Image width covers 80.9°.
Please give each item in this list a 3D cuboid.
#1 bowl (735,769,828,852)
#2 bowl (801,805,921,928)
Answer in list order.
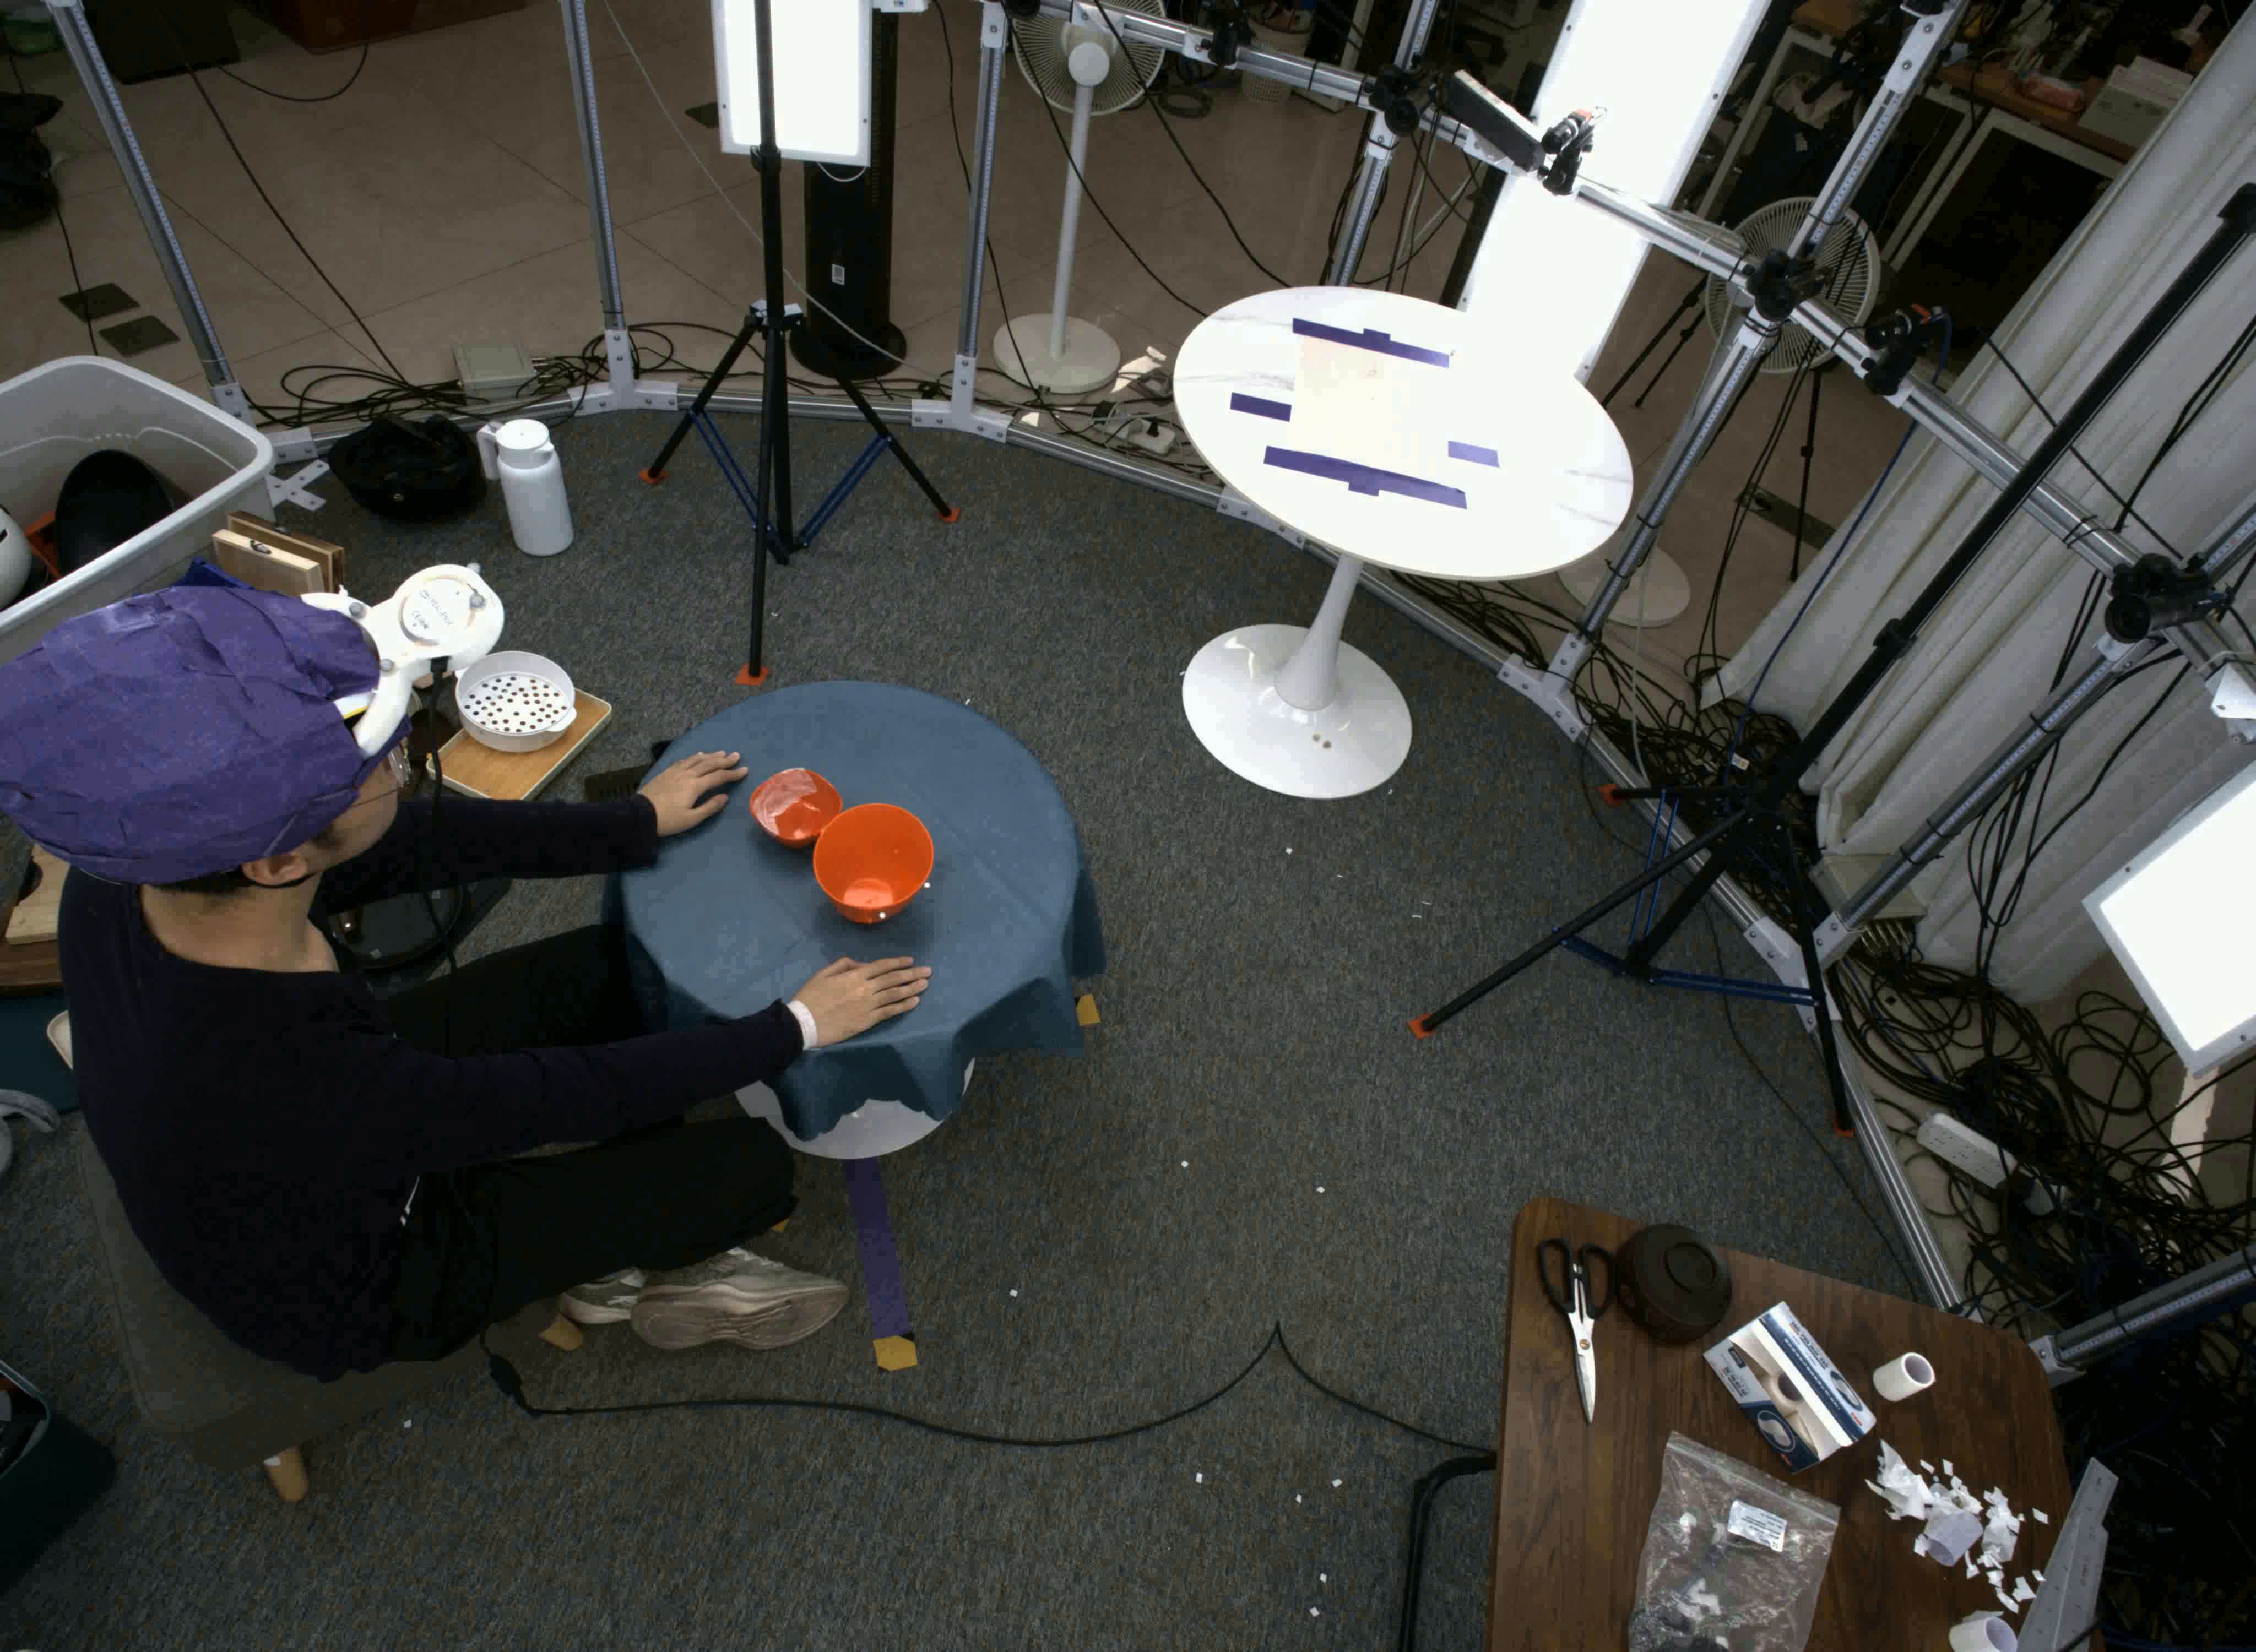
[{"bbox_3d":[-0.455,-0.013,1.704,0.119,0.052,0.117,8,53,-9],"label":"bowl"},{"bbox_3d":[-0.338,0.062,1.646,0.148,0.107,0.145,8,53,-8],"label":"bowl"}]
